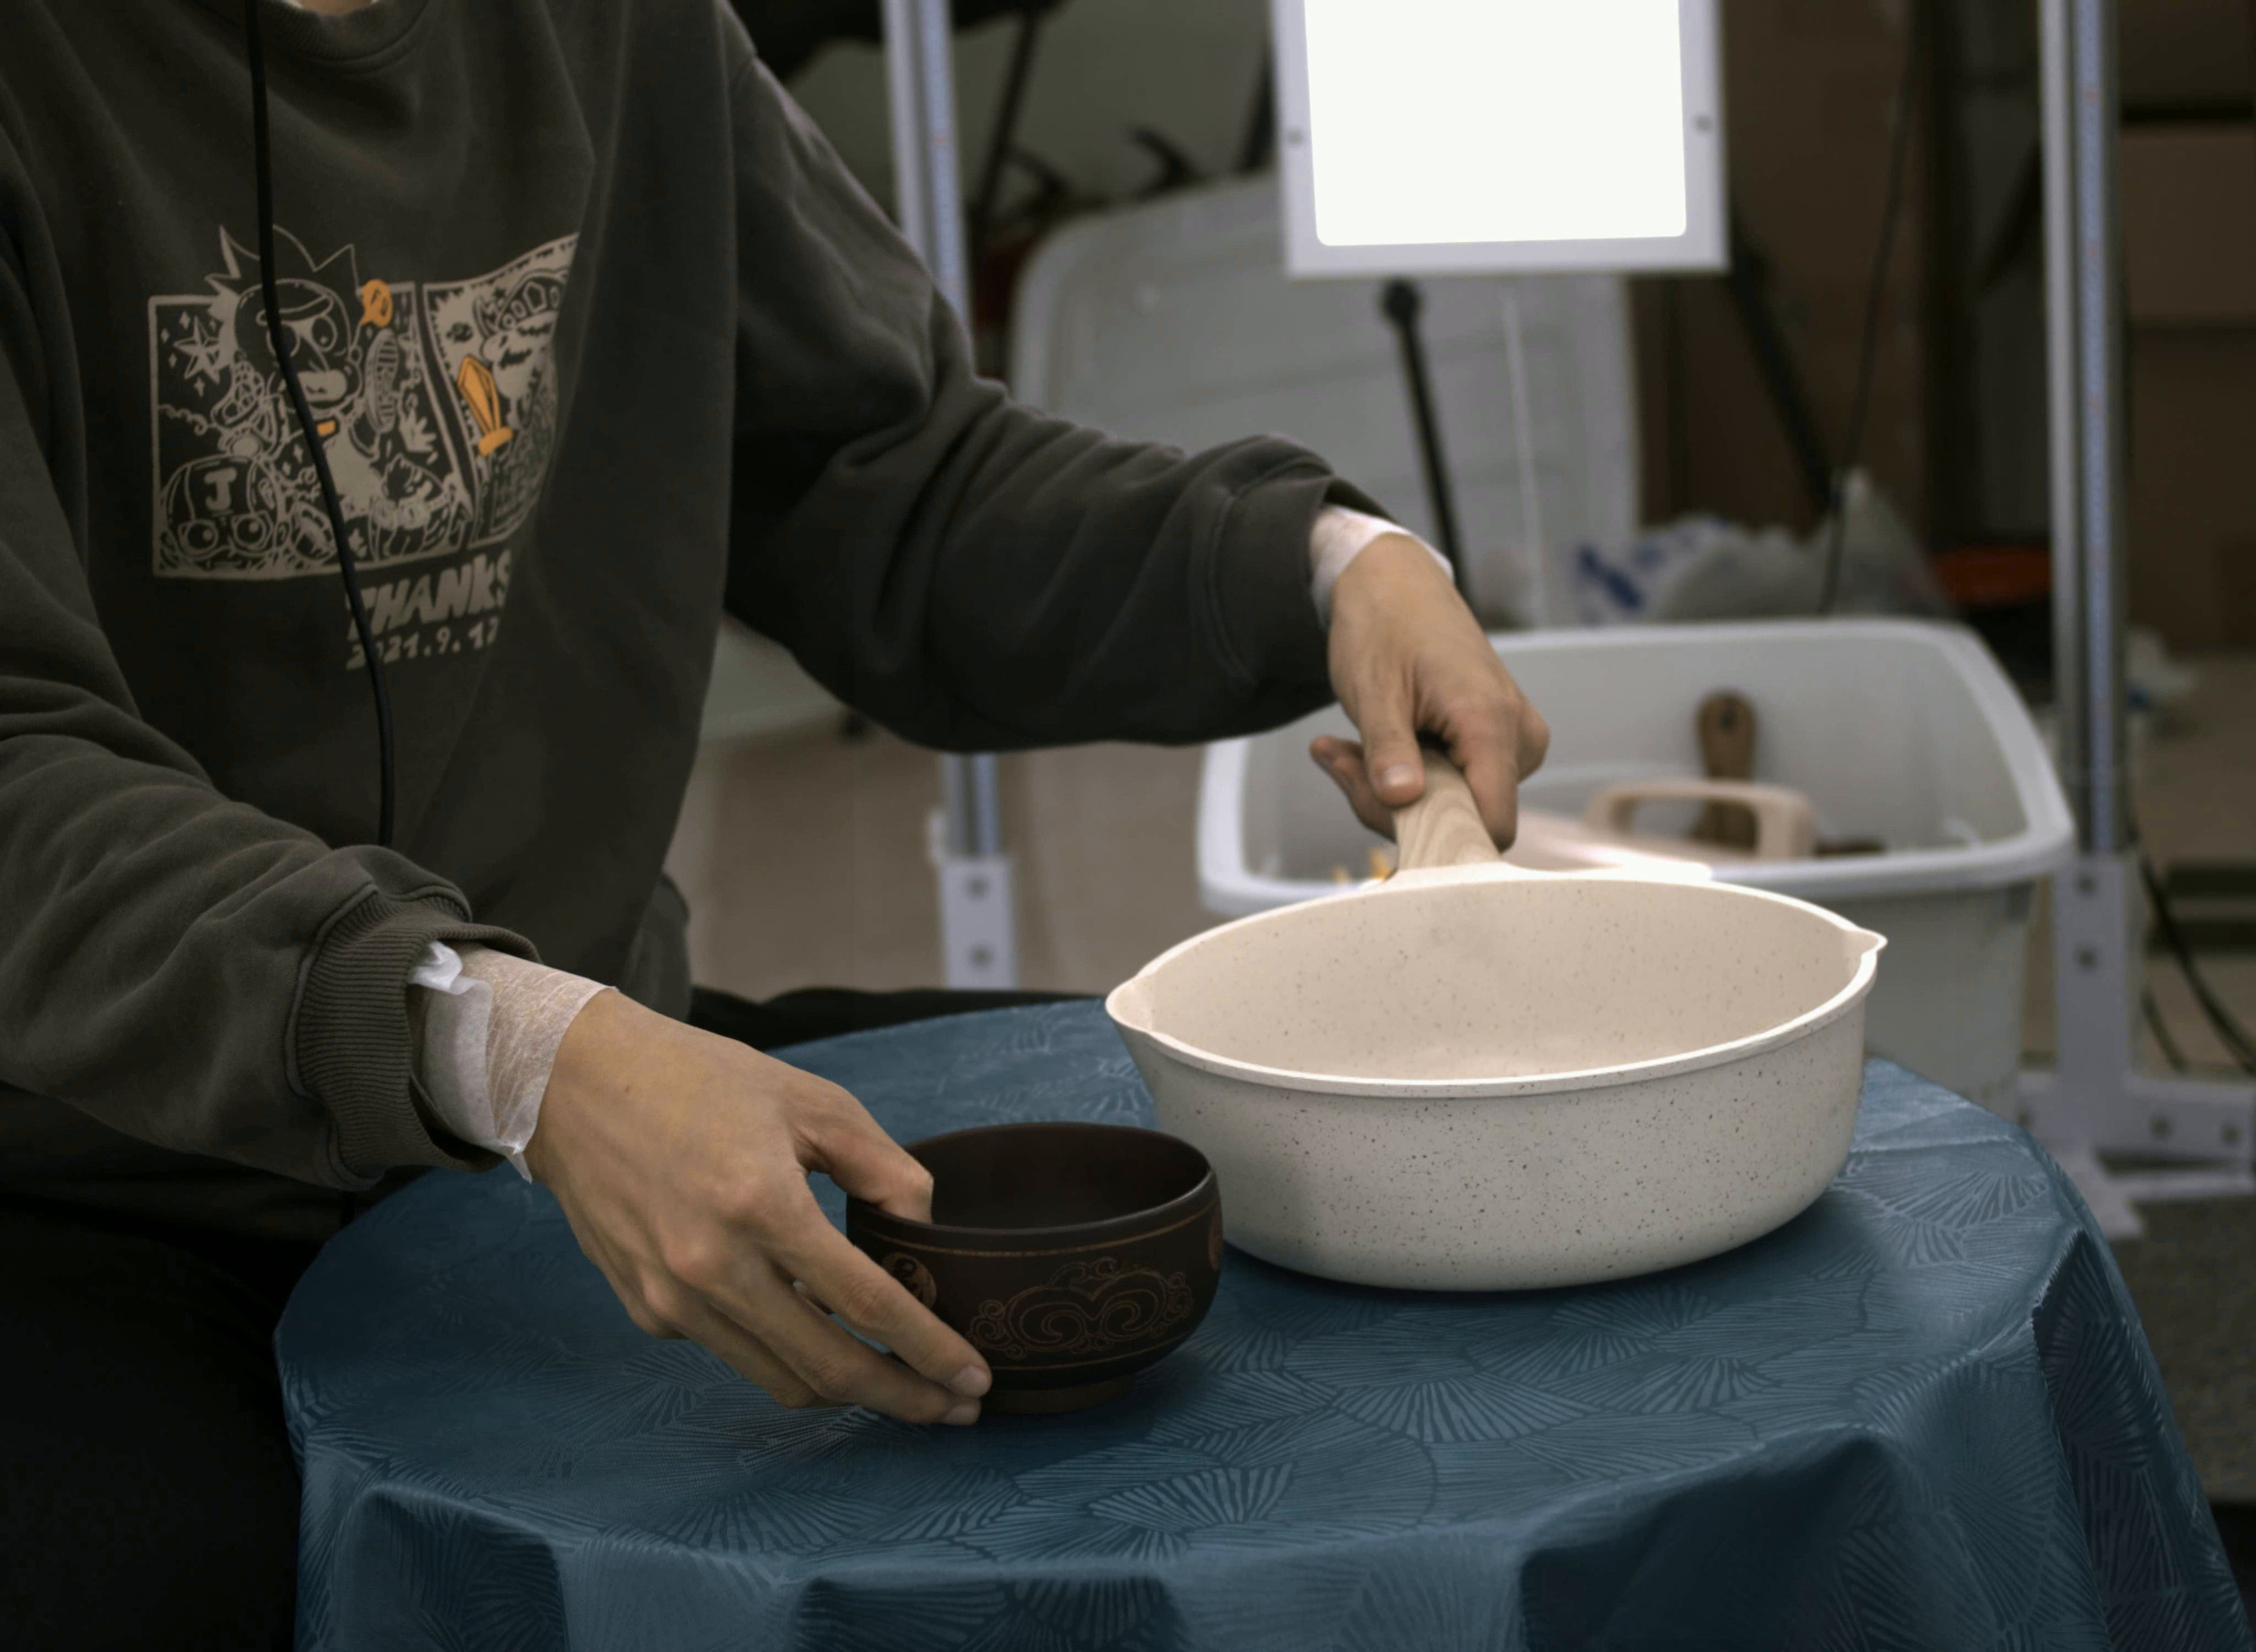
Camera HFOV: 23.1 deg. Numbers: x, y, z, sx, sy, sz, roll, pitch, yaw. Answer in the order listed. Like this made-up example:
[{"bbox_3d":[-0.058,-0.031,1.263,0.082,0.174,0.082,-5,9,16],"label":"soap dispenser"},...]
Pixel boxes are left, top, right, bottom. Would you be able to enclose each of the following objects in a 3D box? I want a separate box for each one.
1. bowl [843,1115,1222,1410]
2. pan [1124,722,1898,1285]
[{"bbox_3d":[-0.028,0.139,1.704,0.118,0.070,0.118,-5,14,0],"label":"bowl"},{"bbox_3d":[0.126,0.057,1.926,0.262,0.102,0.435,-7,14,-1],"label":"pan"}]
